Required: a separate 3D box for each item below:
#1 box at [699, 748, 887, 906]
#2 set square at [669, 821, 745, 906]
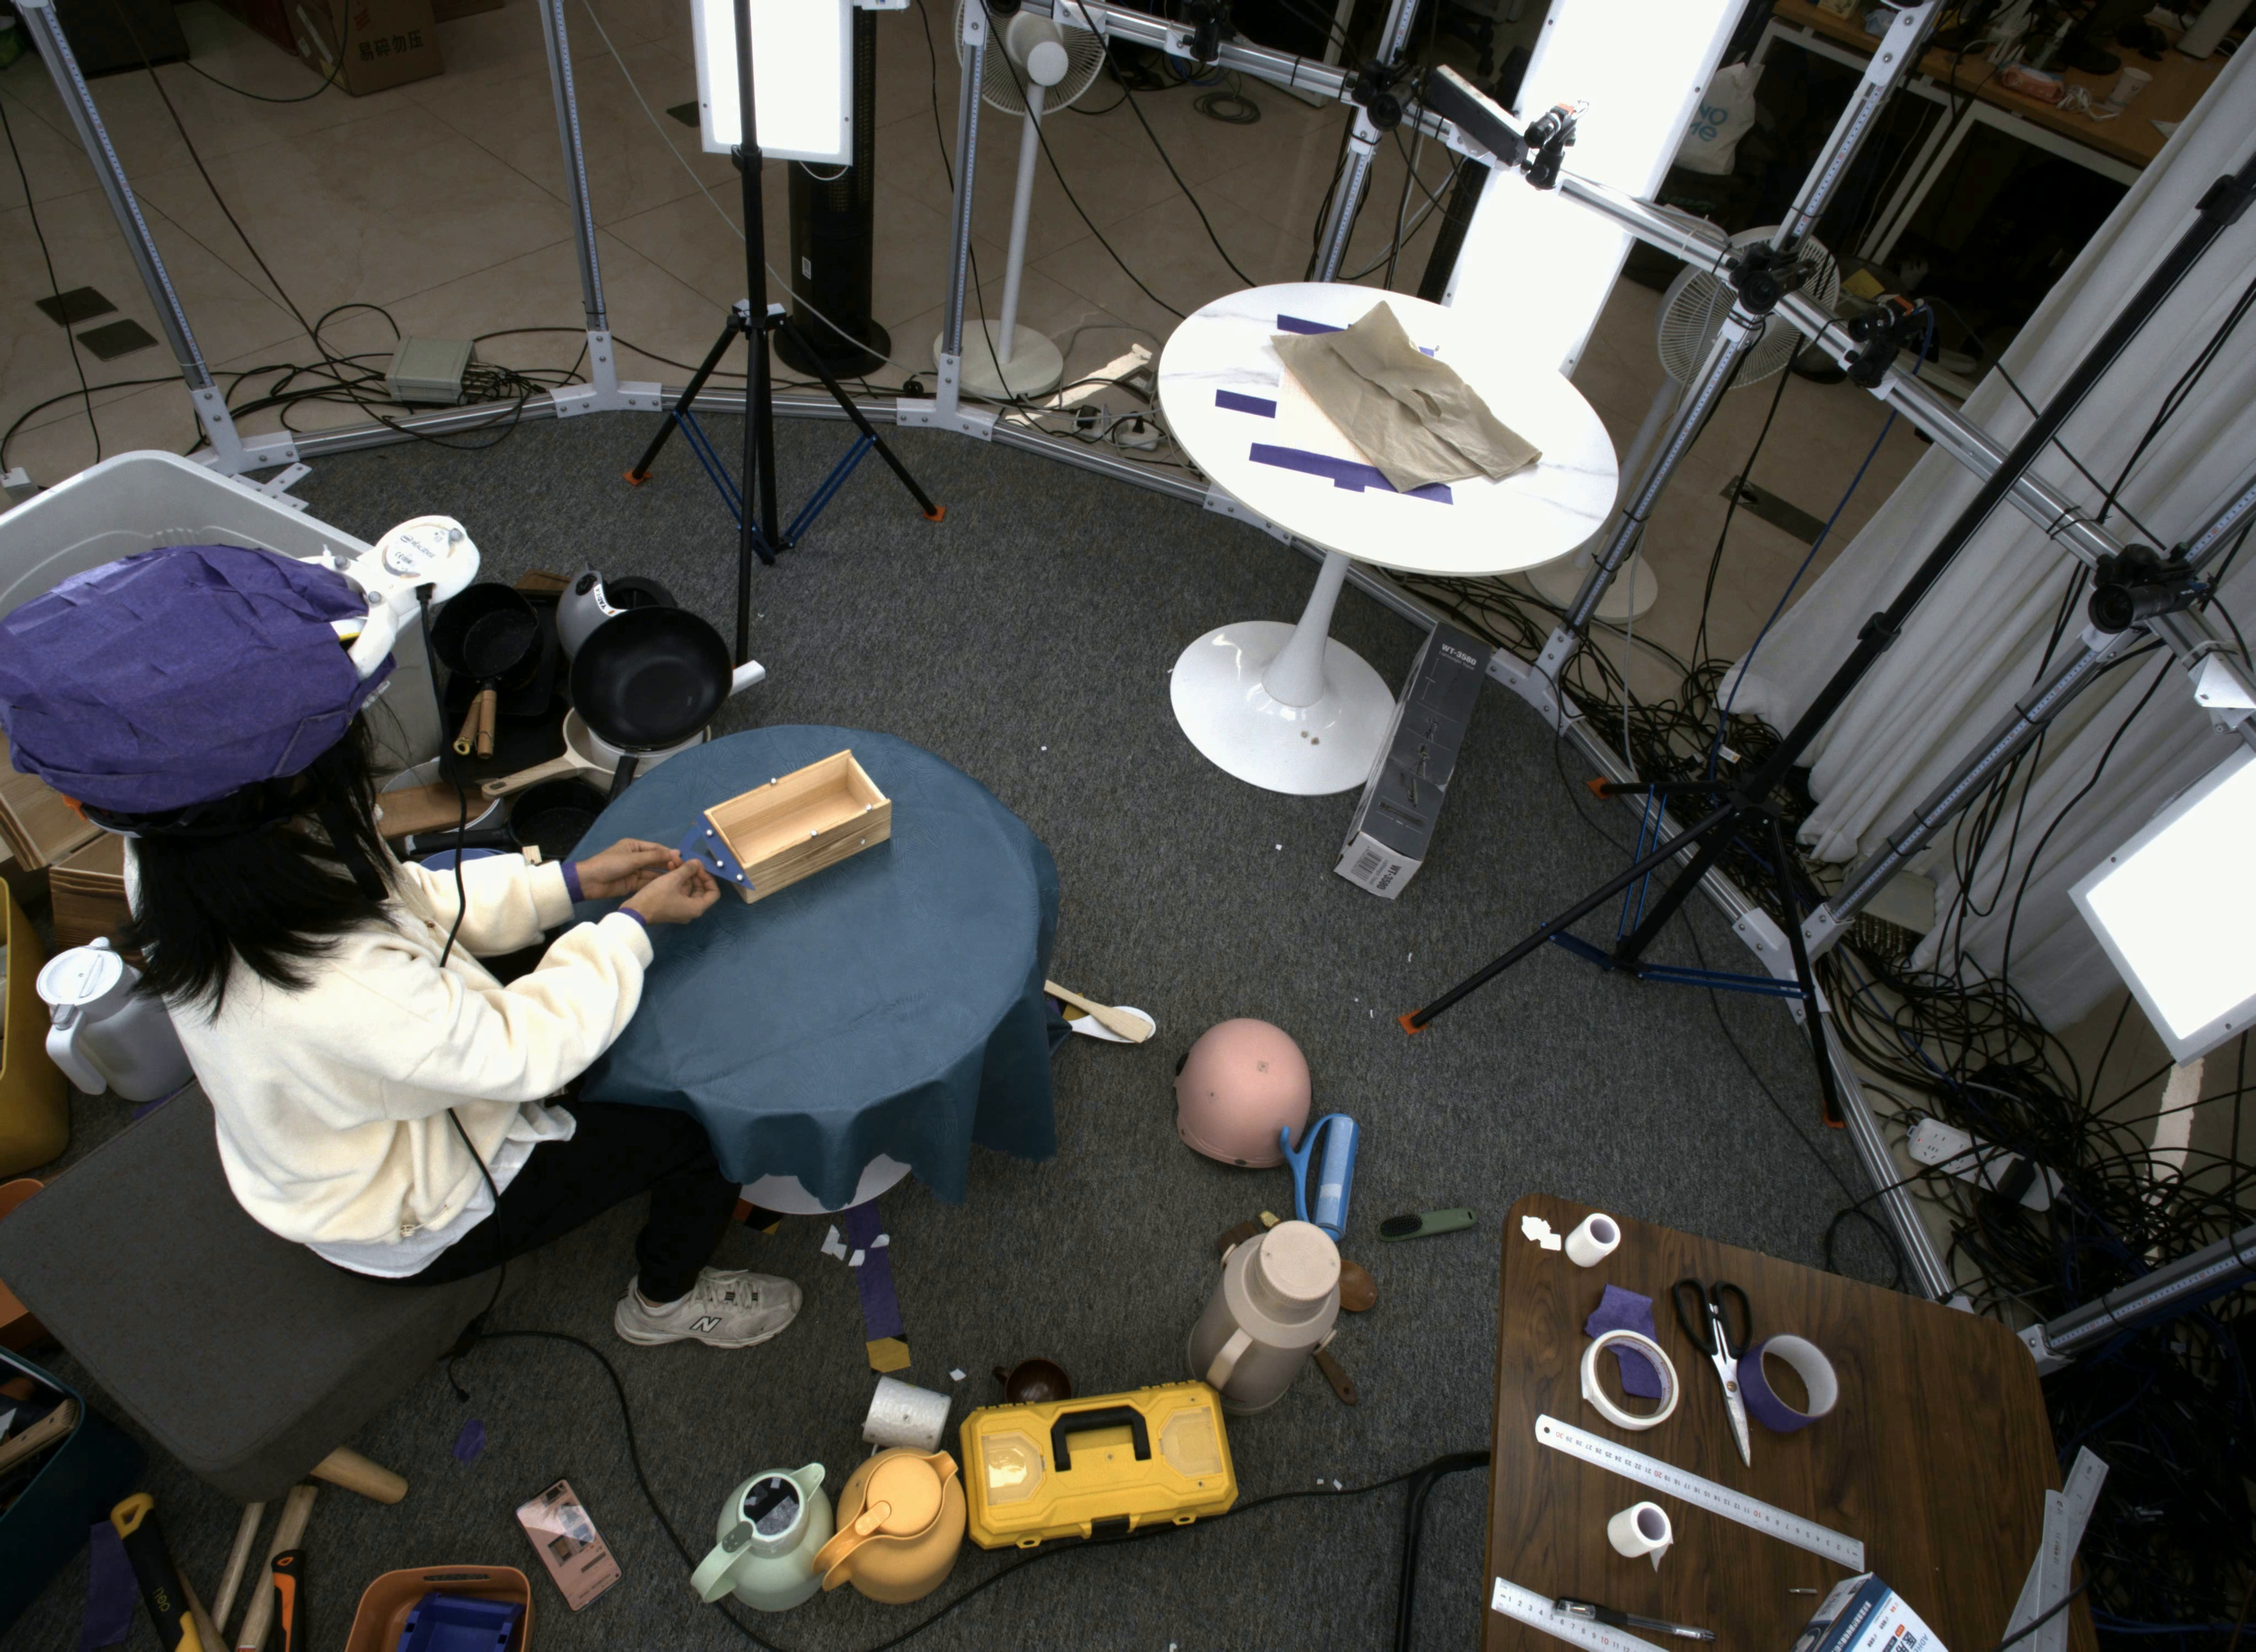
[{"bbox_3d":[-0.427,-0.002,1.668,0.212,0.082,0.105,-29,63,-31],"label":"box"},{"bbox_3d":[-0.517,0.053,1.569,0.061,0.007,0.129,-29,68,-18],"label":"set square"}]
